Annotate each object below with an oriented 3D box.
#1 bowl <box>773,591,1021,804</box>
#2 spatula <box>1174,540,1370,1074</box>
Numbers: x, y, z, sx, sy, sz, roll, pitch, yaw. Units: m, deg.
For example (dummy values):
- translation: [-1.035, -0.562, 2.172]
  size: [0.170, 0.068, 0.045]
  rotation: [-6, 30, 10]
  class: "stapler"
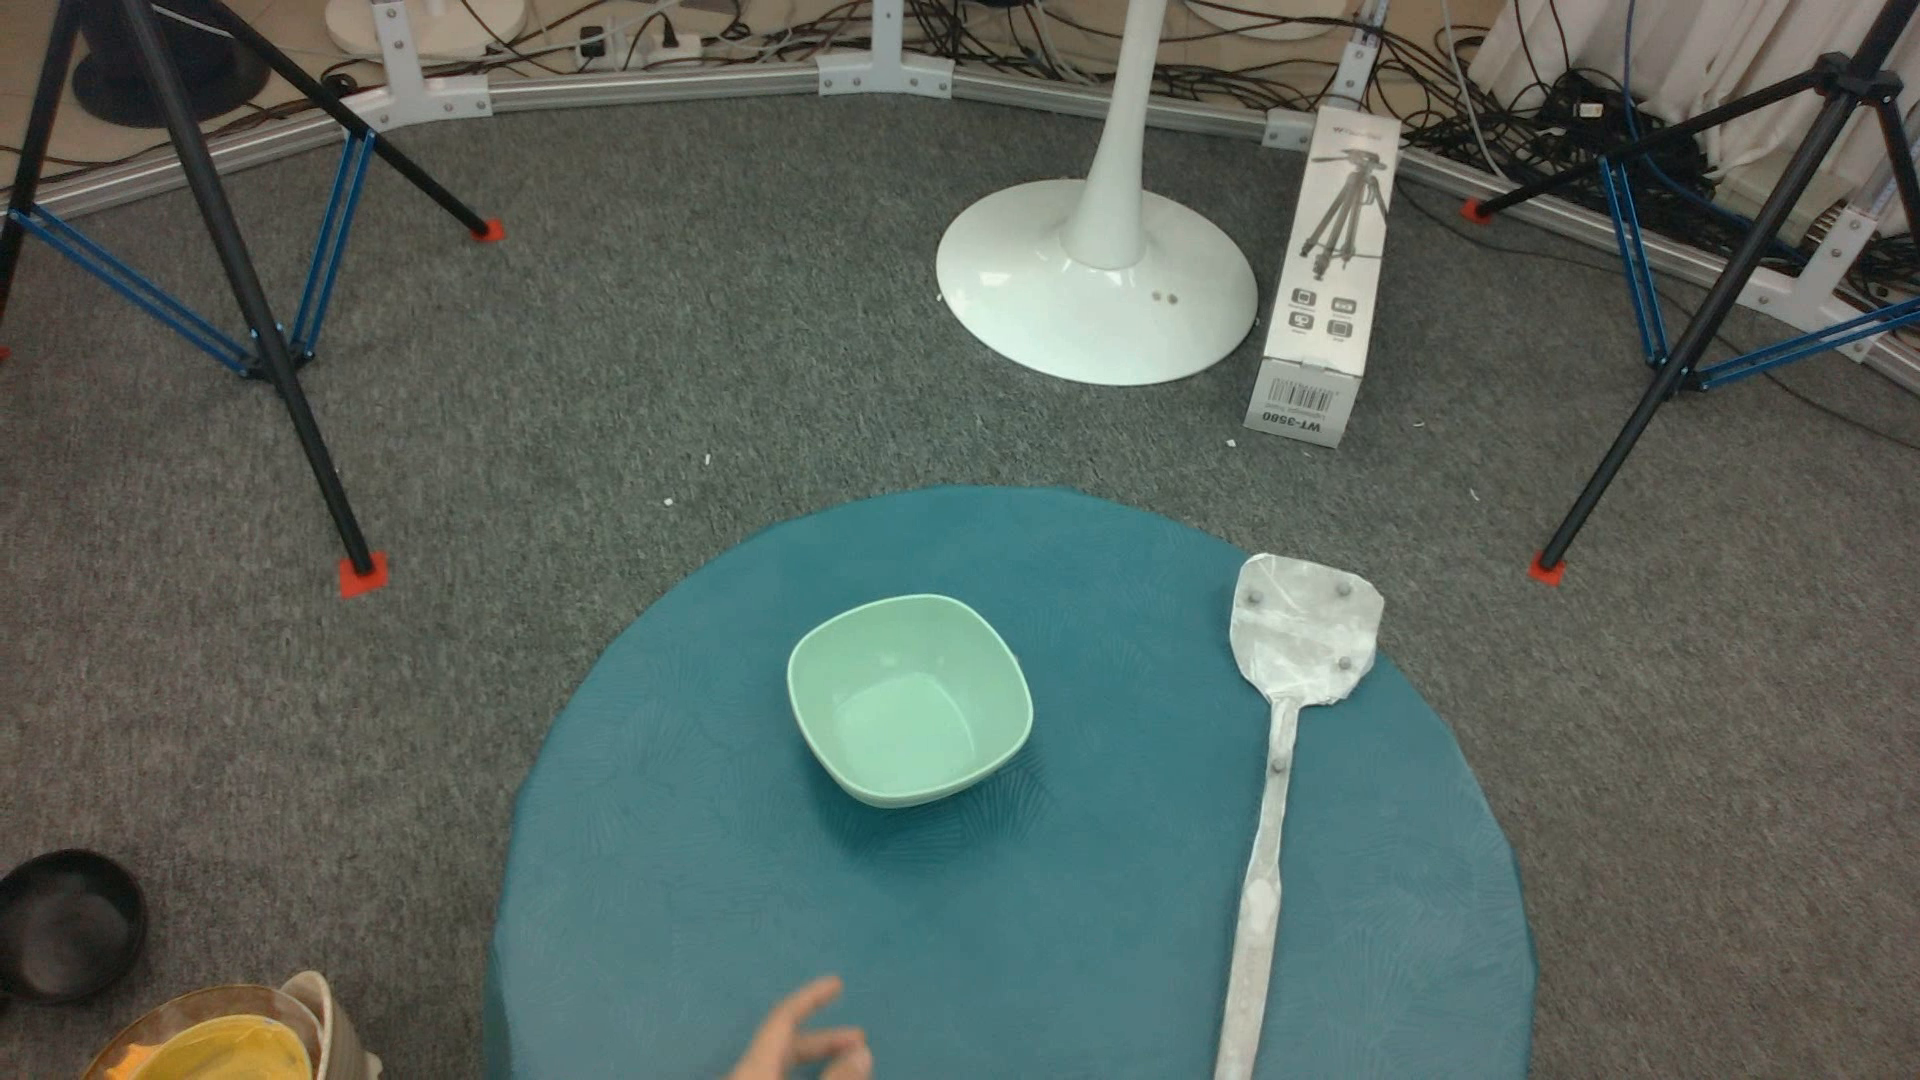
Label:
- translation: [-0.040, 0.105, 0.839]
  size: [0.151, 0.058, 0.152]
  rotation: [3, 48, -3]
  class: "bowl"
- translation: [0.181, 0.148, 0.839]
  size: [0.098, 0.044, 0.367]
  rotation: [18, 49, 6]
  class: "spatula"
